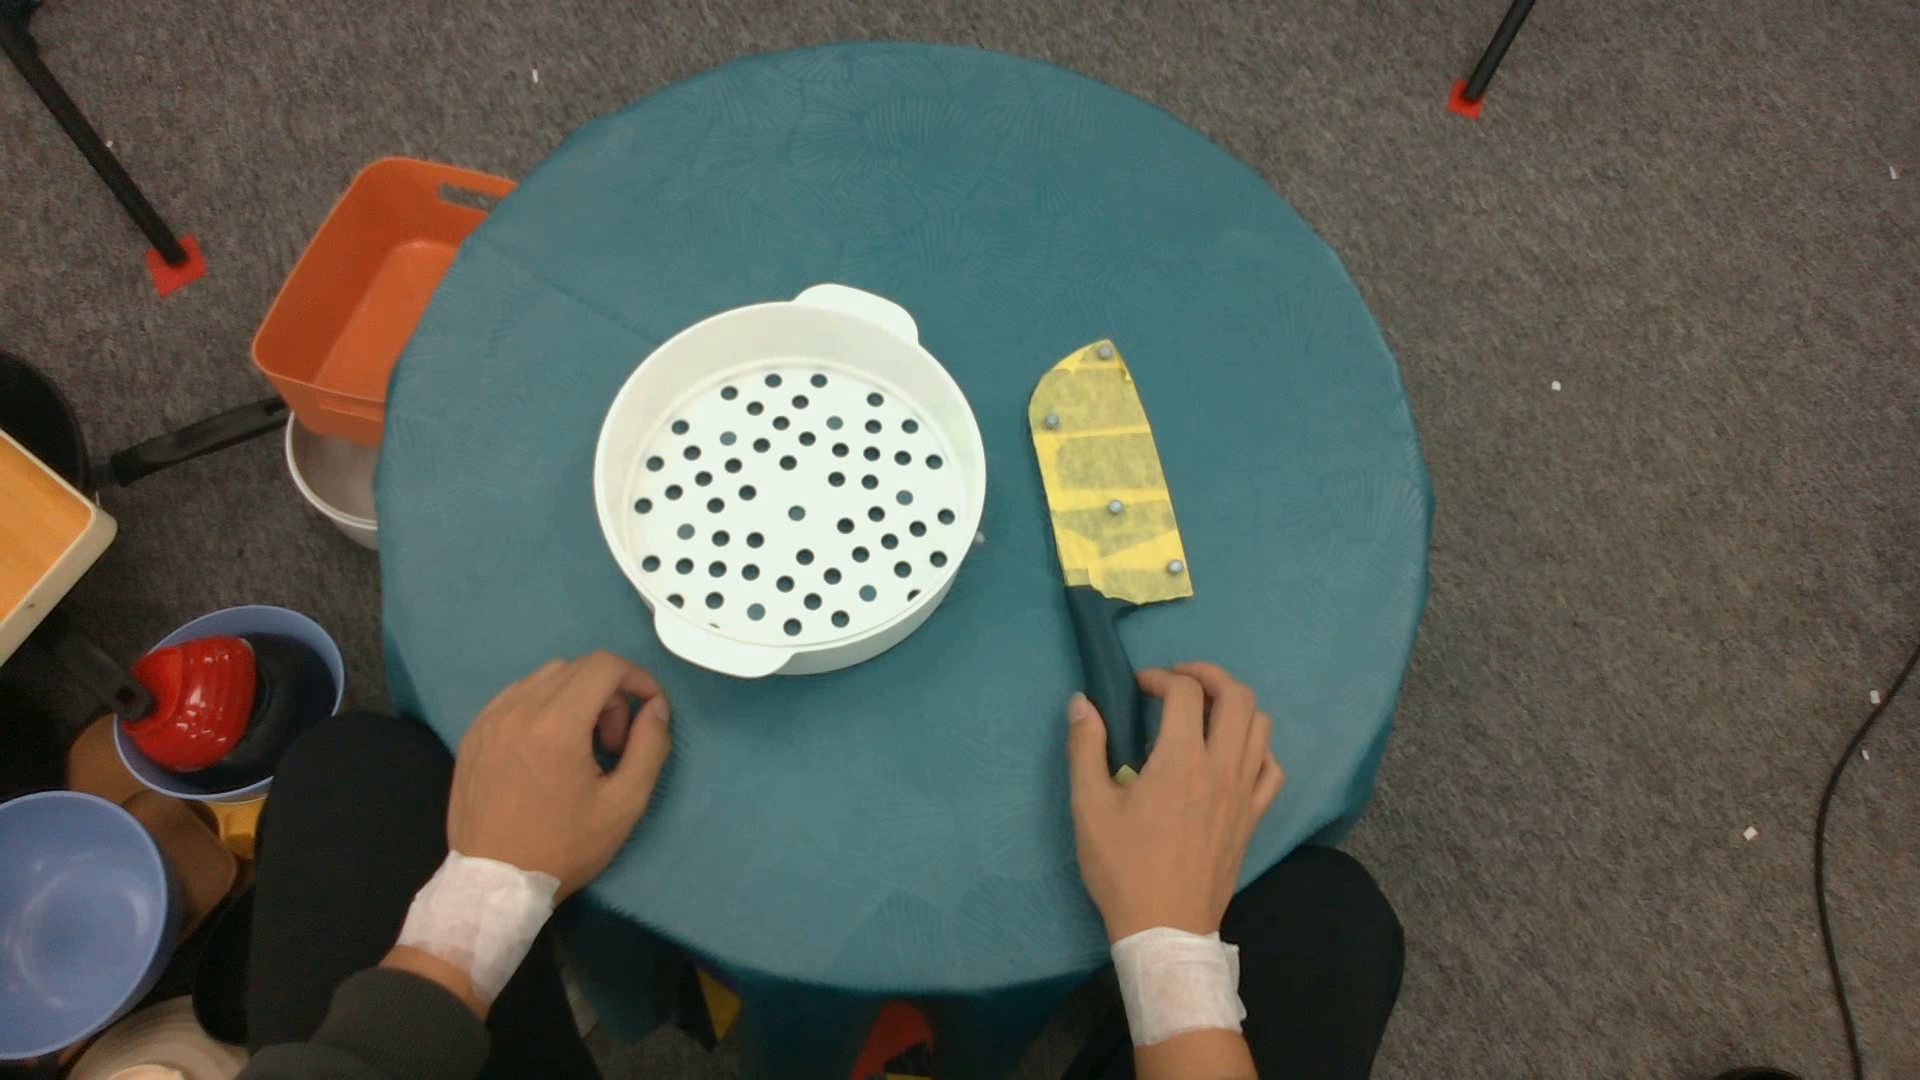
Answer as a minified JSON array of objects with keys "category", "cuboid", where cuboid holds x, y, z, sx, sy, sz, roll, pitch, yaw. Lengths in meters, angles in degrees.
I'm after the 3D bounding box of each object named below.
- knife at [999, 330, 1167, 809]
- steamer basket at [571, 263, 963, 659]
[{"category":"knife","cuboid":[0.075,0.006,0.772,0.081,0.027,0.290,-4,67,-11]},{"category":"steamer basket","cuboid":[-0.101,-0.037,0.740,0.202,0.069,0.231,18,68,2]}]
